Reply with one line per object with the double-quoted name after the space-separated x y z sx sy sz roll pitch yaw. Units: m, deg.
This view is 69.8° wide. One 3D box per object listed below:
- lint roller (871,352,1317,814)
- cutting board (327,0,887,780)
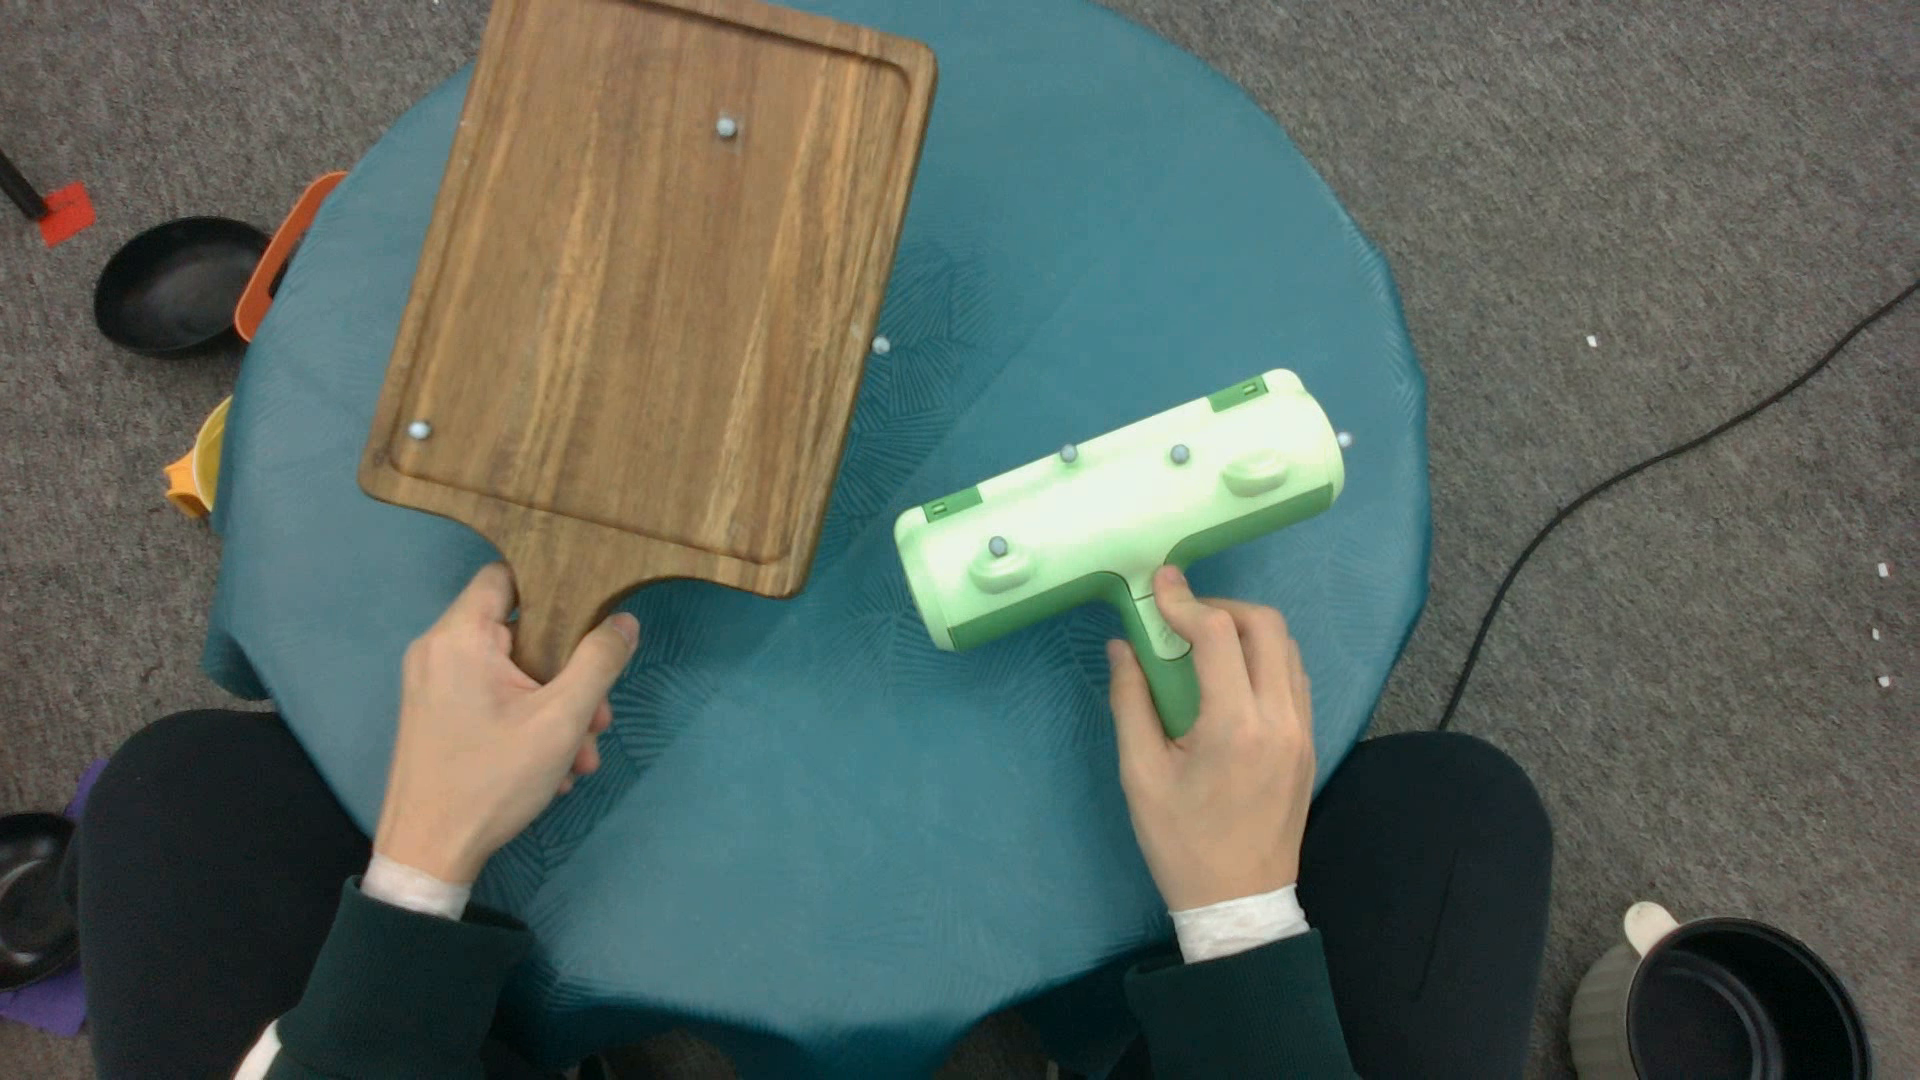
0.081 0.031 0.598 0.198 0.082 0.183 -22 77 -2 "lint roller"
-0.162 -0.071 0.603 0.201 0.023 0.352 12 84 -1 "cutting board"
